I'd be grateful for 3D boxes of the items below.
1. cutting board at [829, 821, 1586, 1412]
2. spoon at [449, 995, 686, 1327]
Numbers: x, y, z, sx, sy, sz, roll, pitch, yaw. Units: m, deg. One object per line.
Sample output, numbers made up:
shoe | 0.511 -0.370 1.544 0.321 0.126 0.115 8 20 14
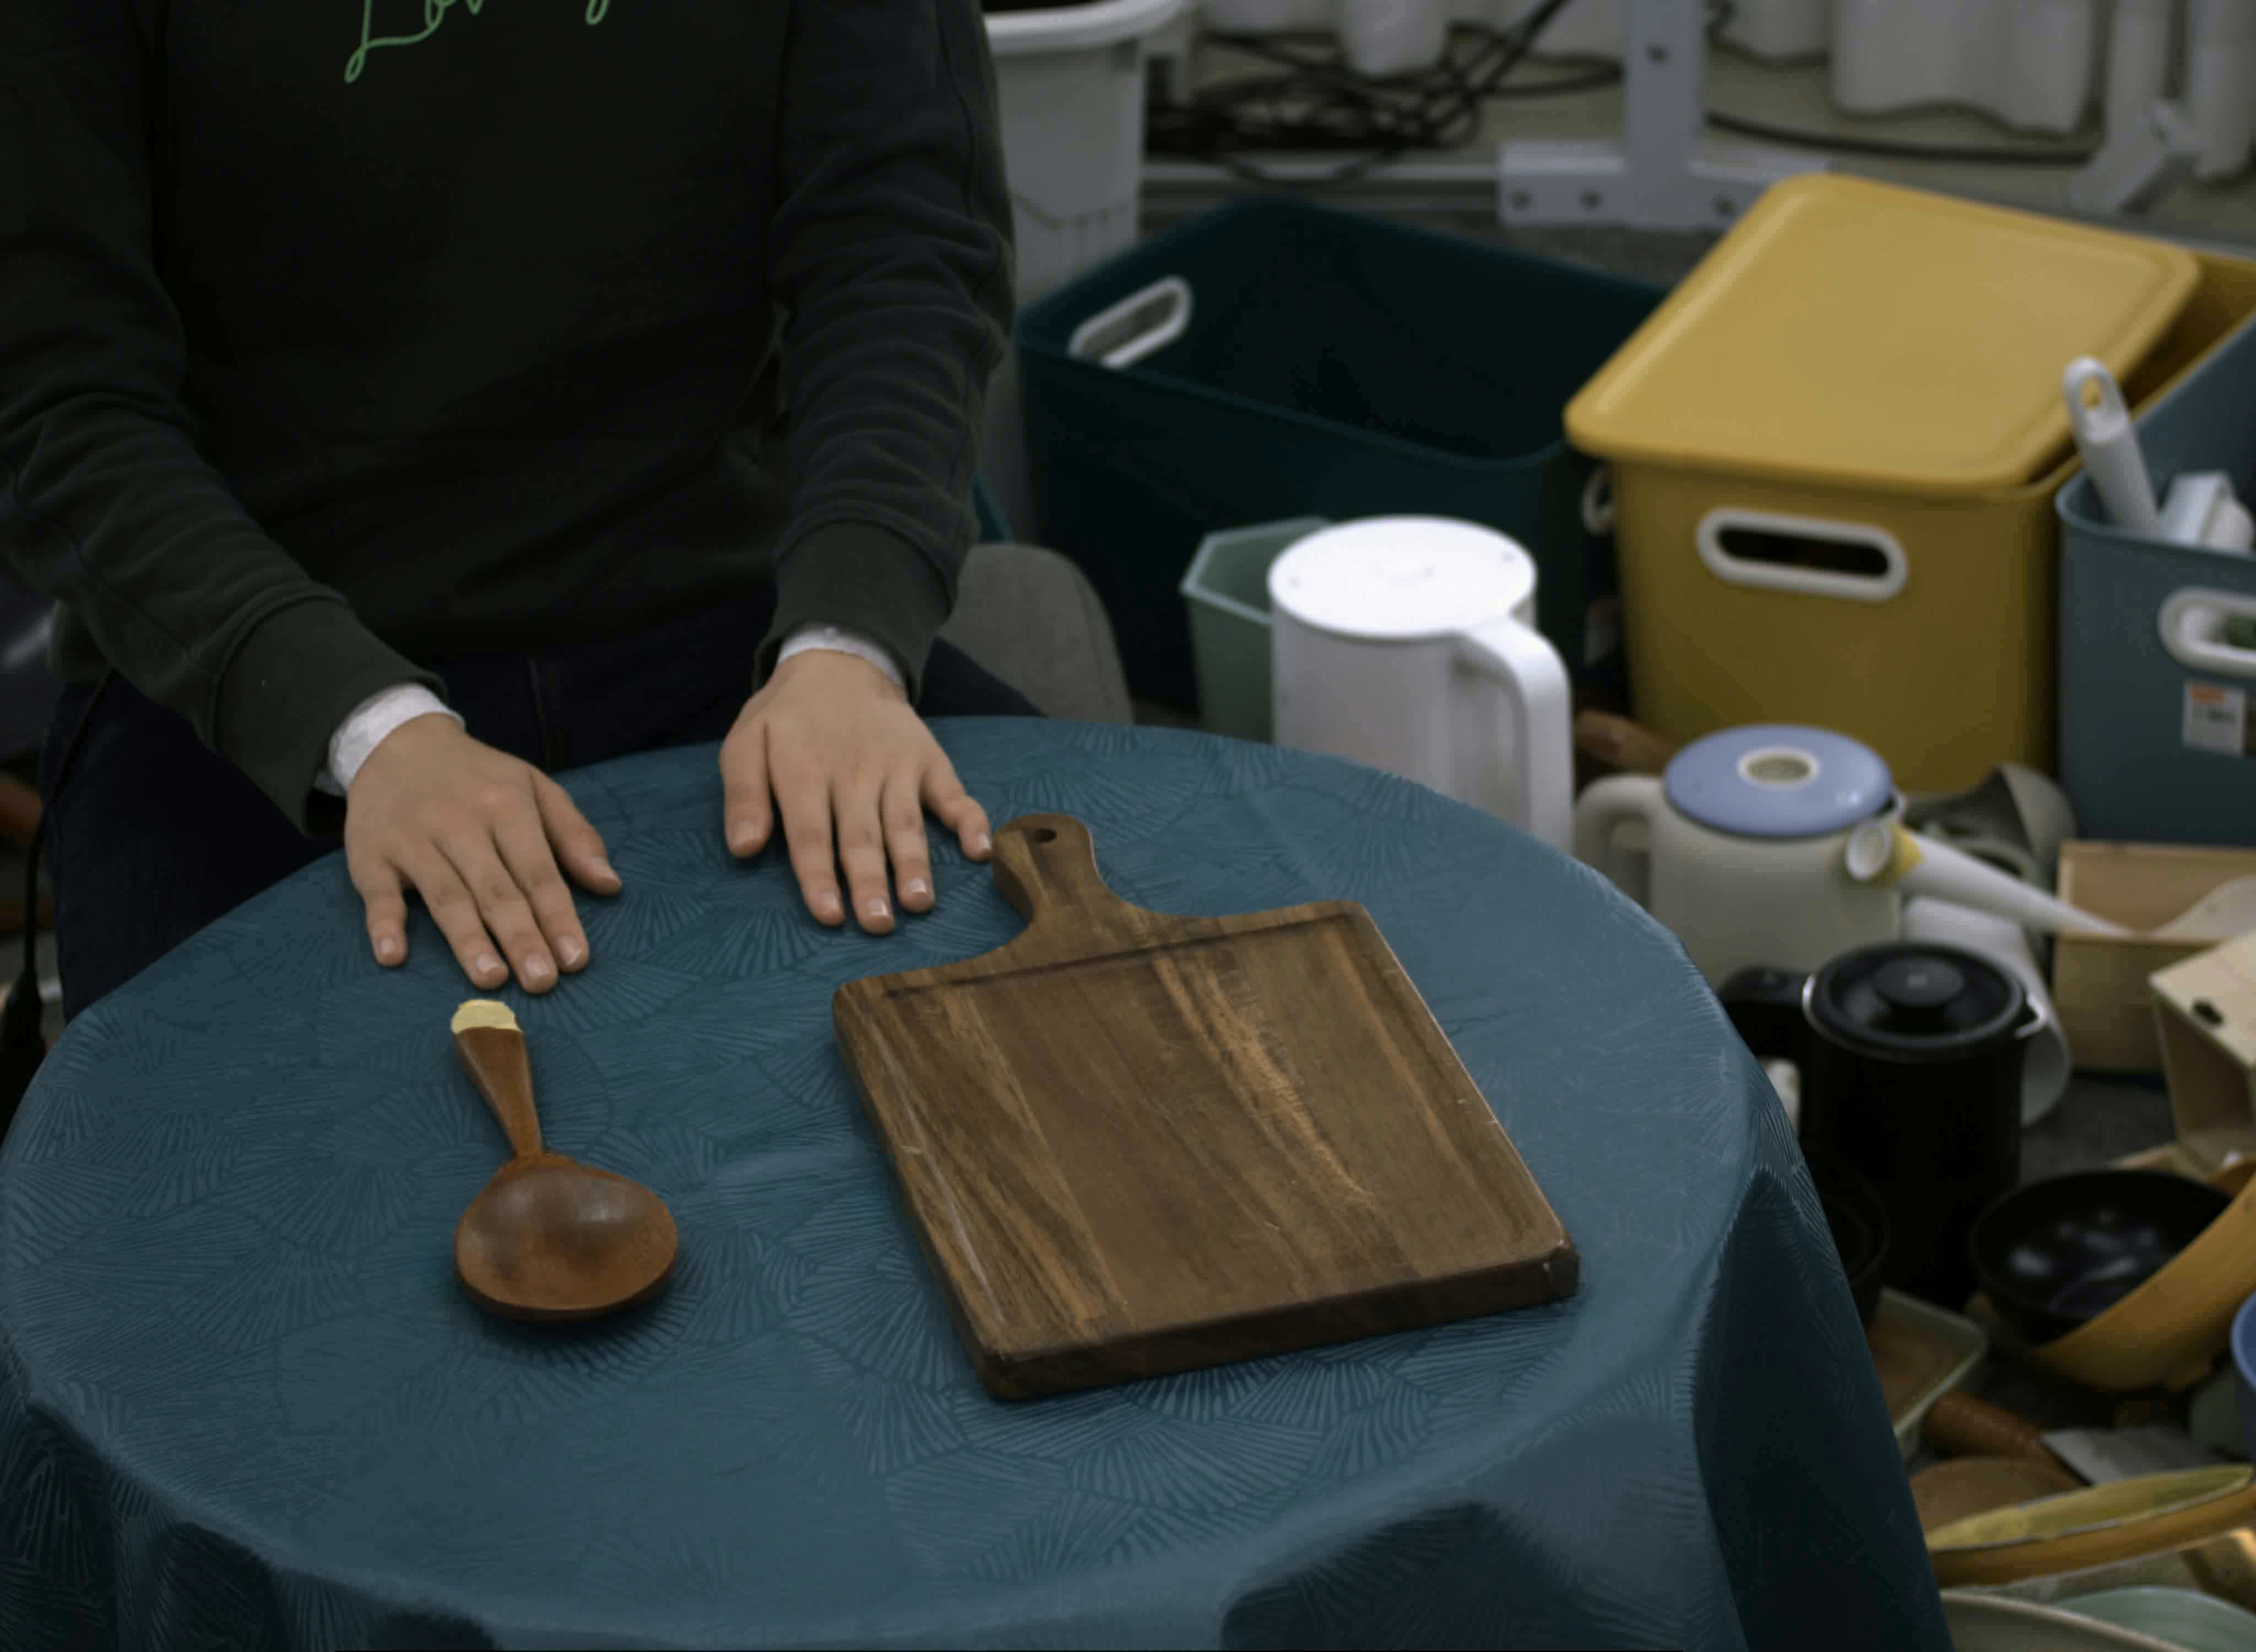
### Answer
cutting board | 0.009 0.083 1.917 0.201 0.023 0.356 -10 28 -11
spoon | -0.198 0.112 1.880 0.075 0.017 0.218 -11 29 -12
